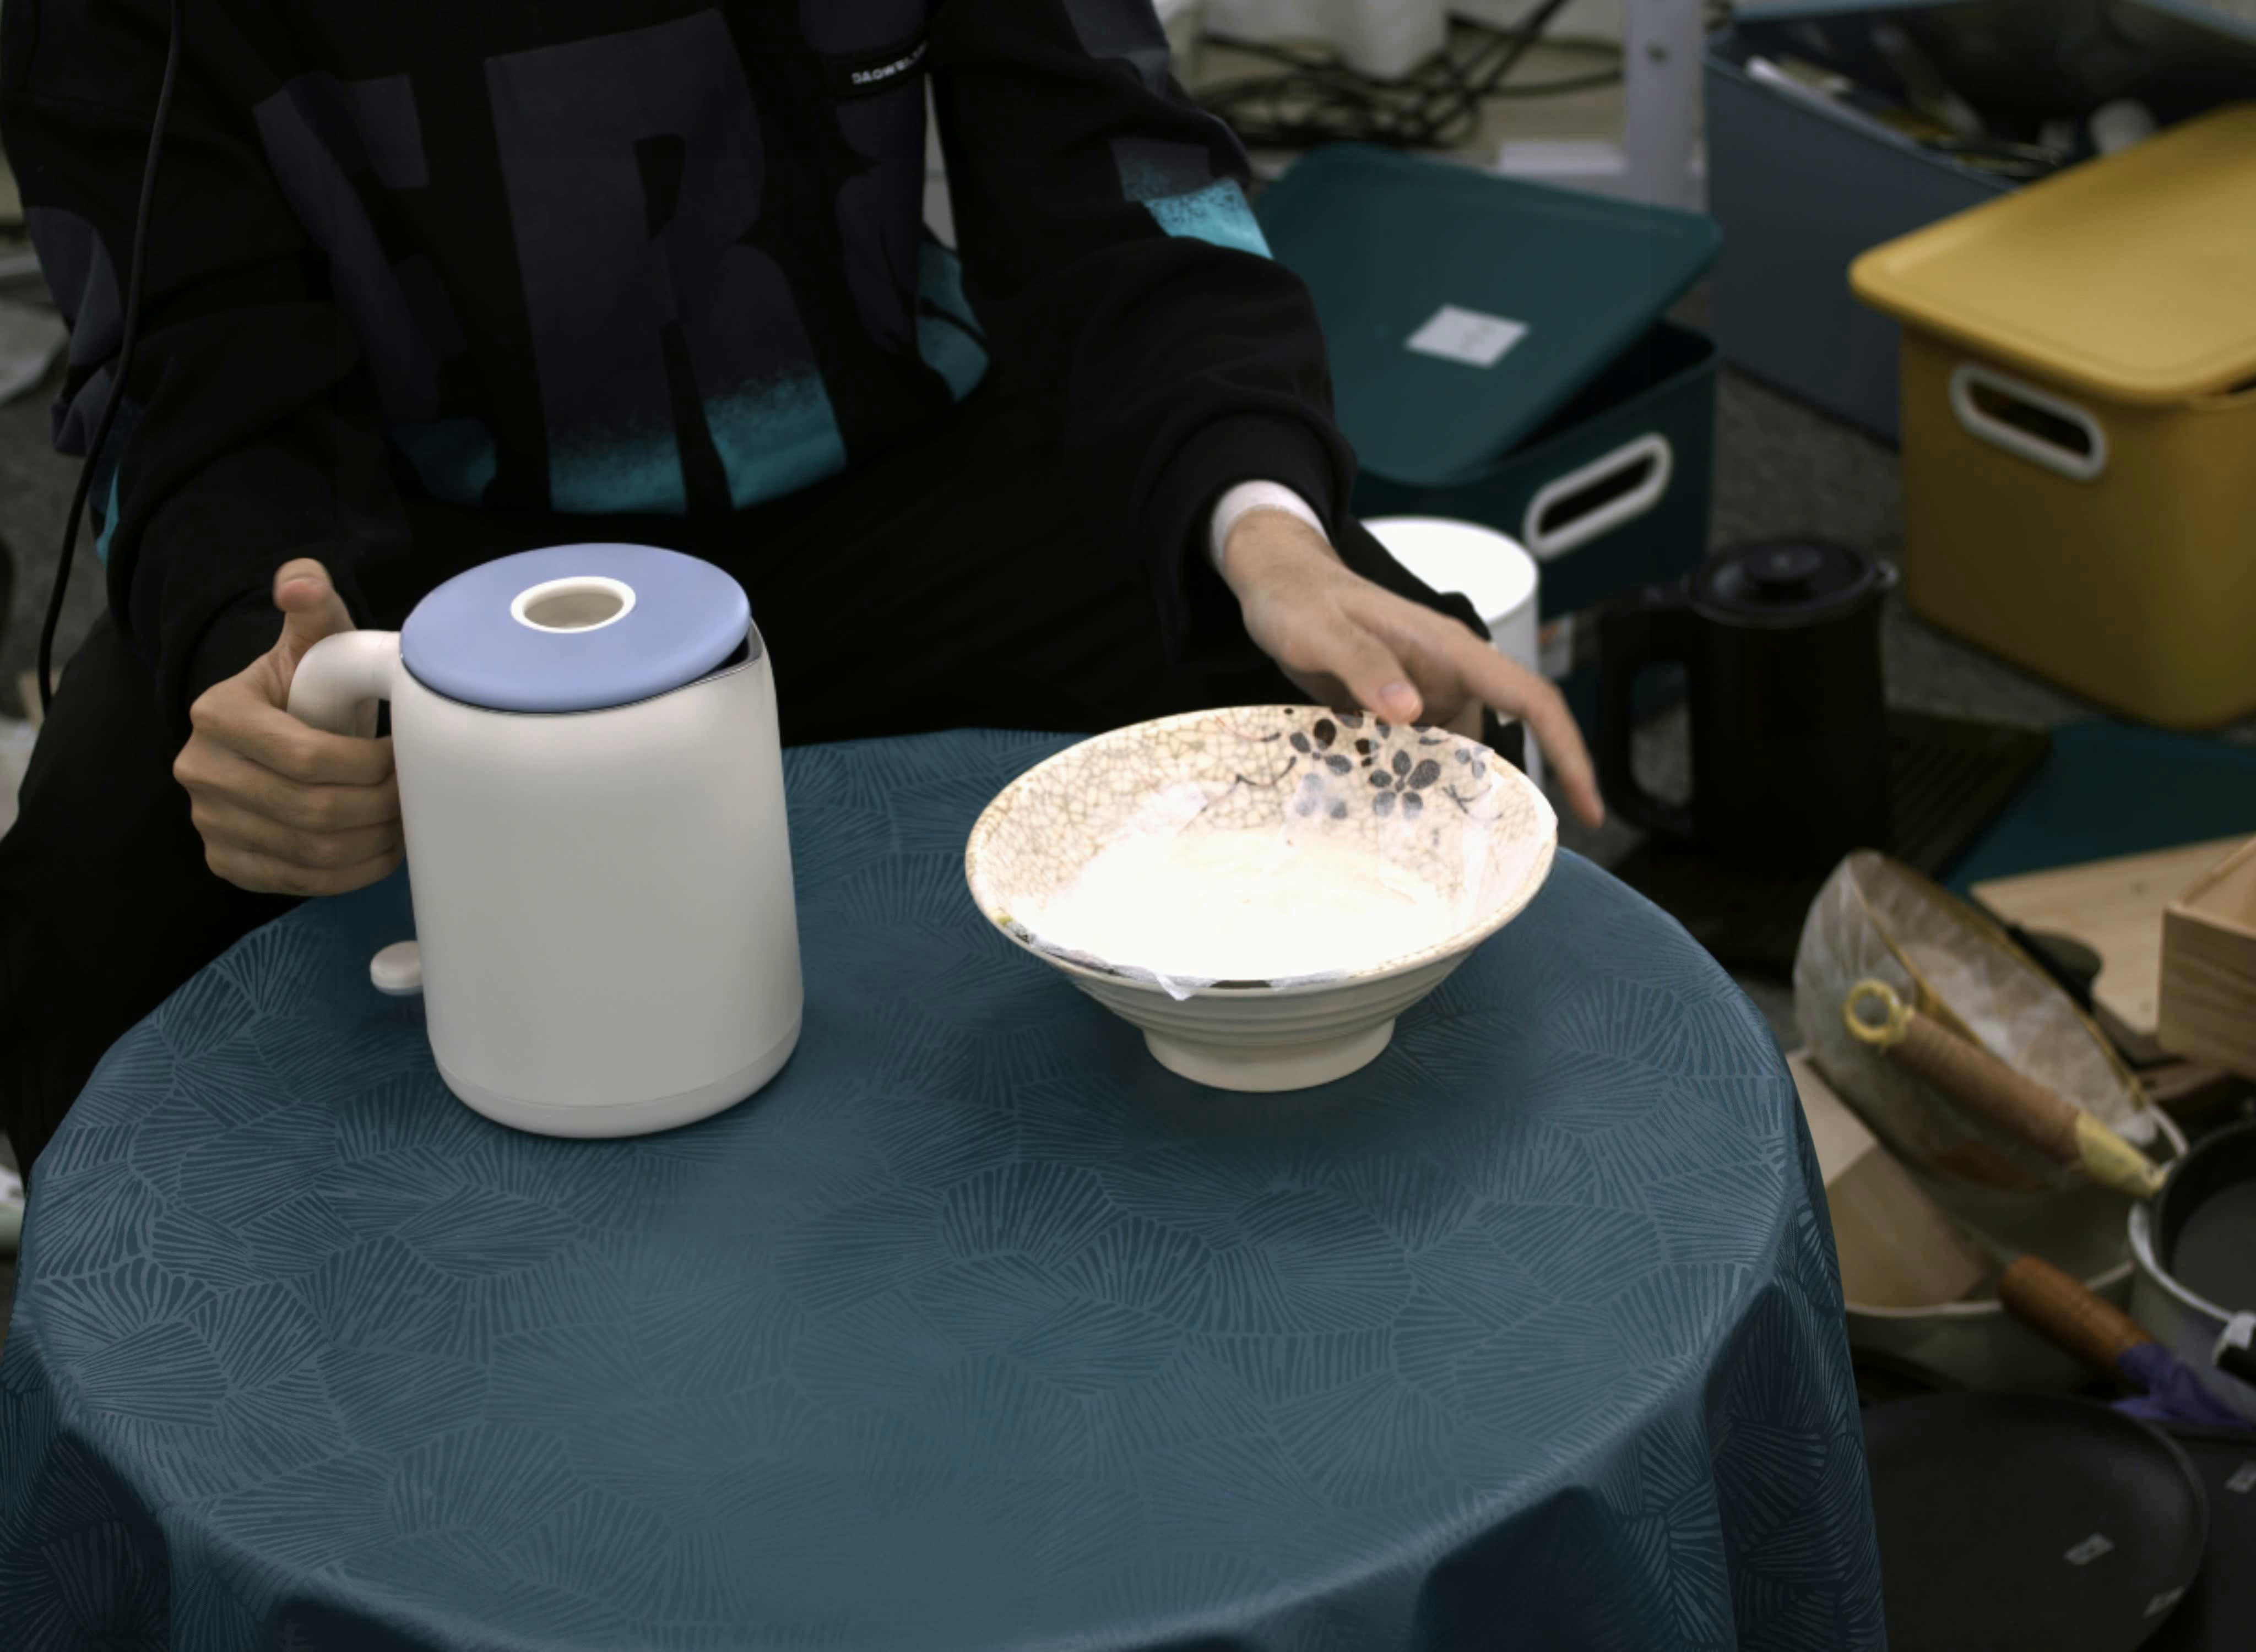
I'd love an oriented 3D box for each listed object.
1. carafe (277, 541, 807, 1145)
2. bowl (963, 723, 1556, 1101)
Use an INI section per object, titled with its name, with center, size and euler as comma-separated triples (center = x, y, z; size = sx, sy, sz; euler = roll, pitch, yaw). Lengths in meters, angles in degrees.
[carafe]
center = -0.204, 0.003, 1.926
size = 0.189, 0.181, 0.134
euler = 4, 26, 19
[bowl]
center = 0.046, 0.040, 1.932
size = 0.203, 0.077, 0.207
euler = -2, 25, 1
